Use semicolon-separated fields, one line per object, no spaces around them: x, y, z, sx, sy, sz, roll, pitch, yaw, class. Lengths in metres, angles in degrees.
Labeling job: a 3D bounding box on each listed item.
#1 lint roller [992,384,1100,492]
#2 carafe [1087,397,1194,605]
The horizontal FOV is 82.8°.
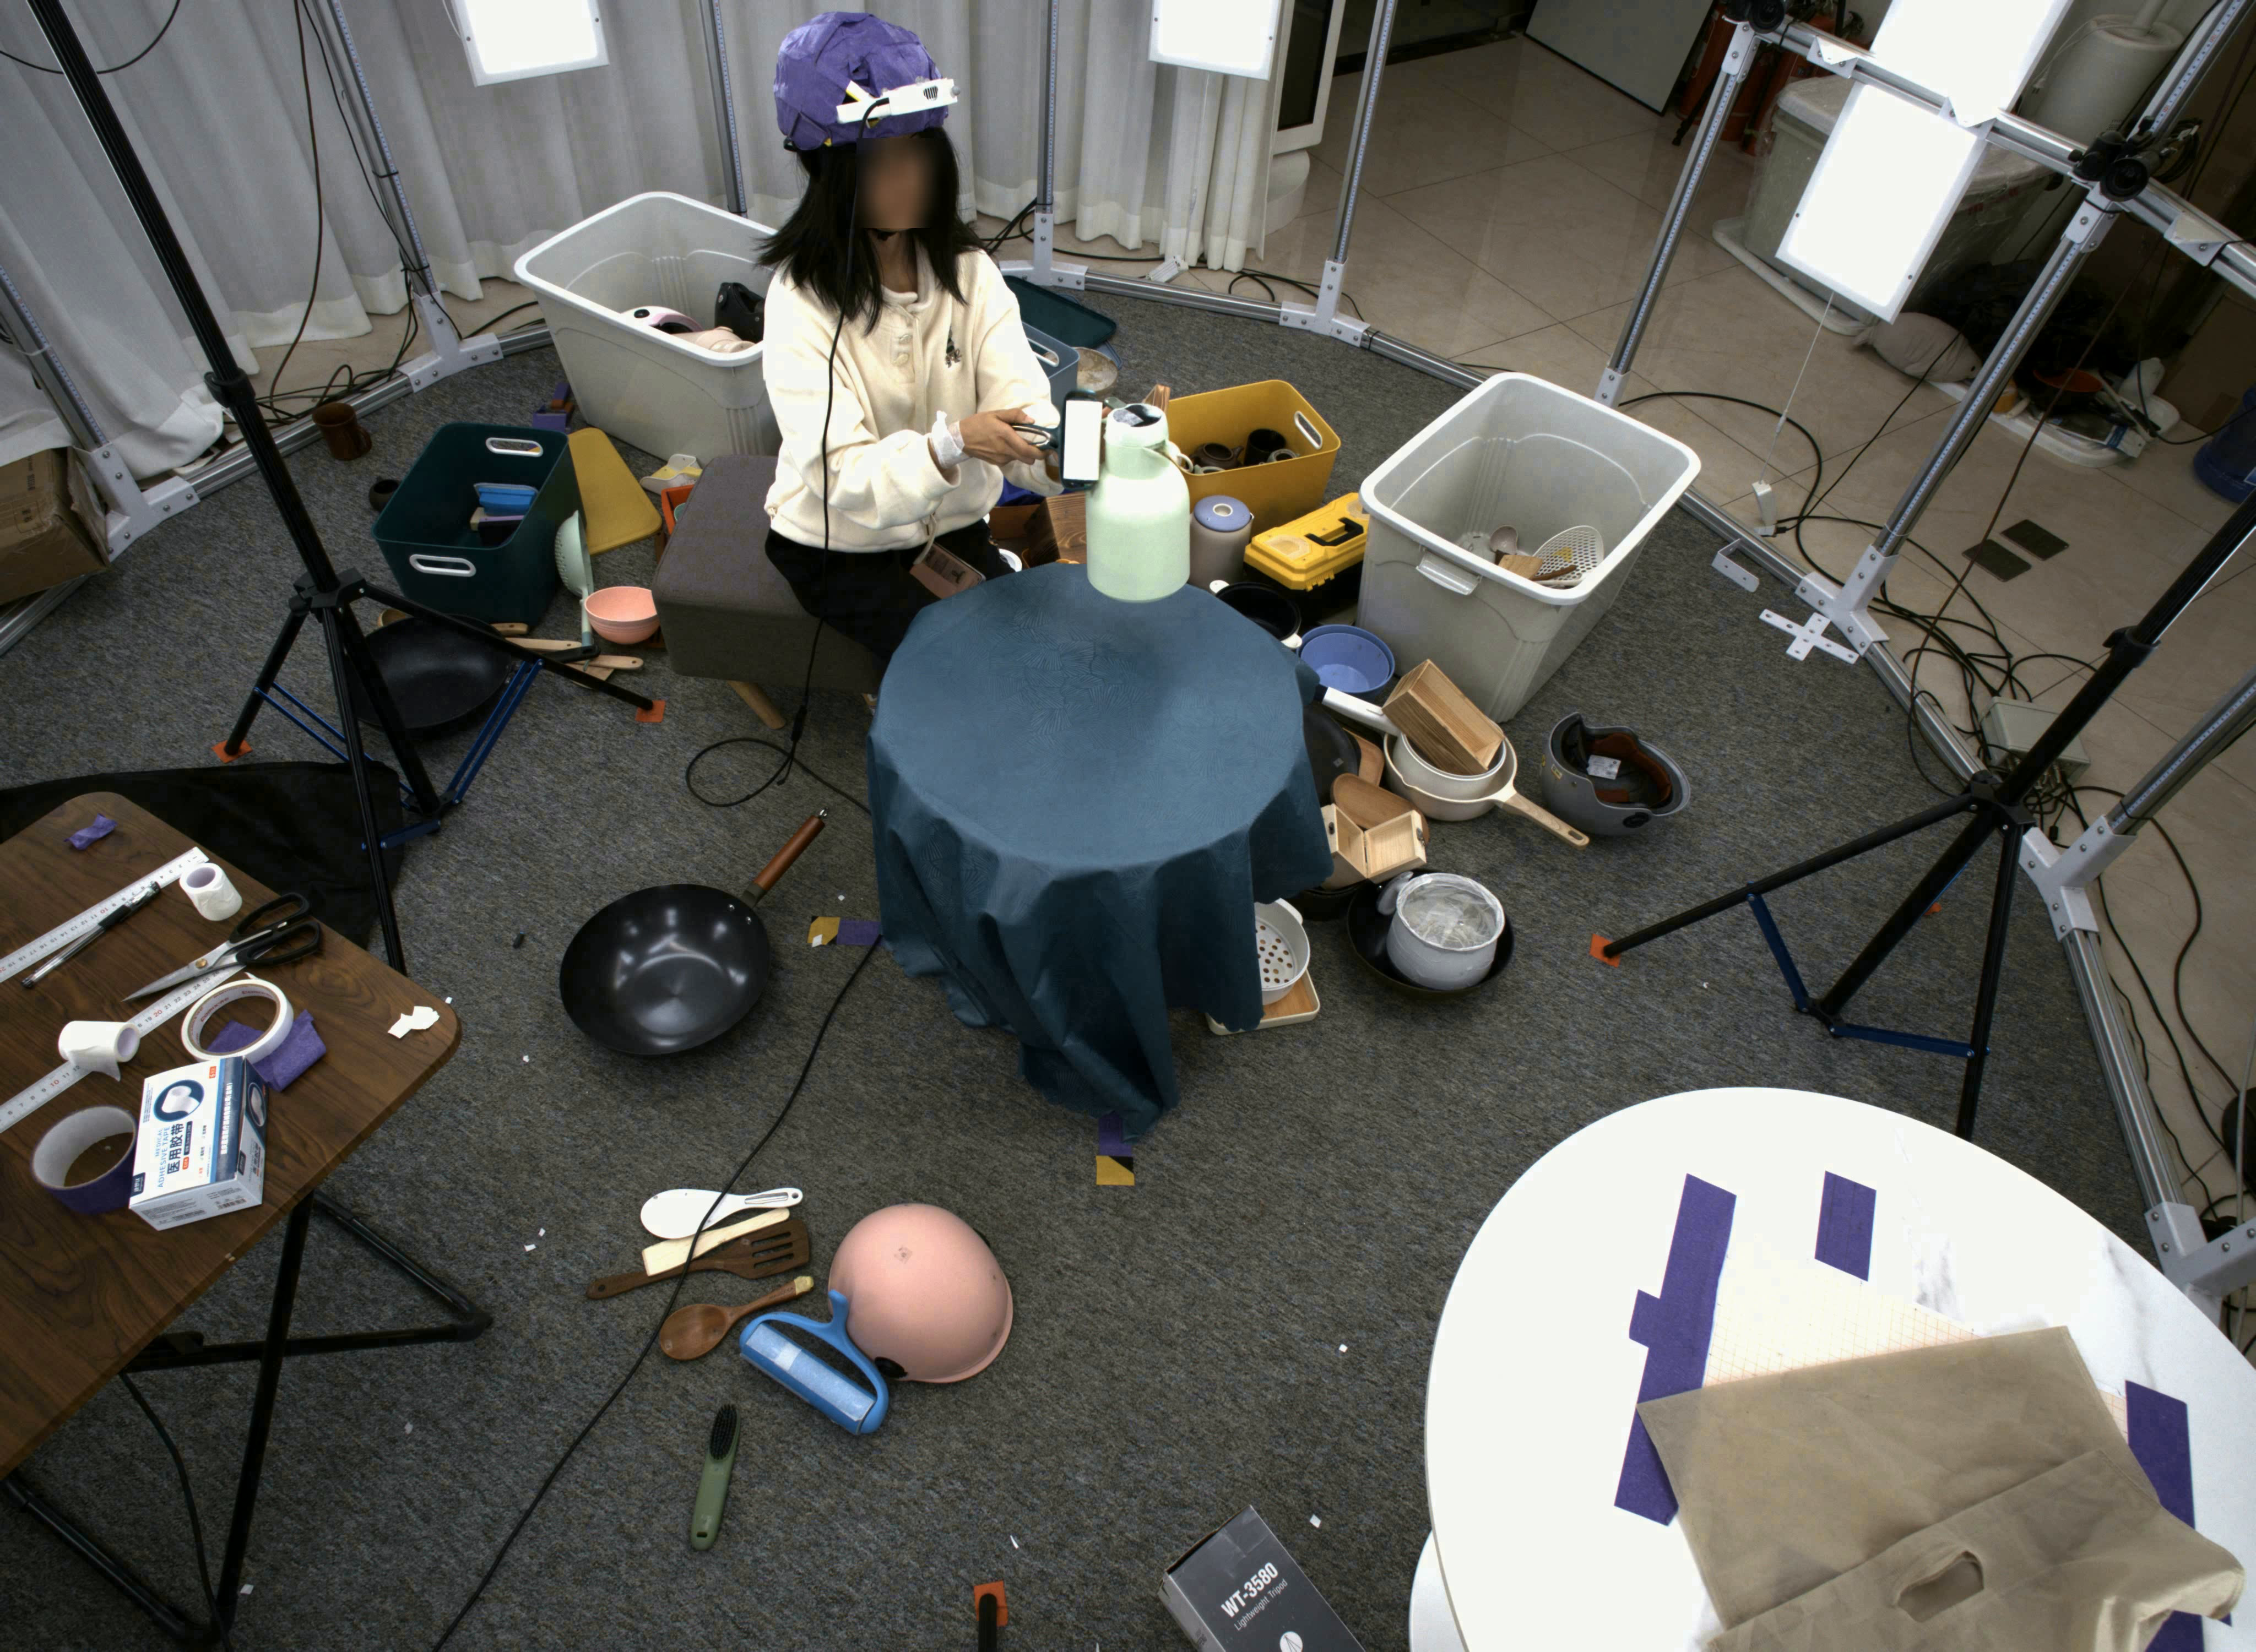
-0.119;-0.519;1.725;0.181;0.133;0.048;12;15;29;lint roller
0.007;-0.447;1.759;0.145;0.250;0.190;-27;44;-24;carafe
